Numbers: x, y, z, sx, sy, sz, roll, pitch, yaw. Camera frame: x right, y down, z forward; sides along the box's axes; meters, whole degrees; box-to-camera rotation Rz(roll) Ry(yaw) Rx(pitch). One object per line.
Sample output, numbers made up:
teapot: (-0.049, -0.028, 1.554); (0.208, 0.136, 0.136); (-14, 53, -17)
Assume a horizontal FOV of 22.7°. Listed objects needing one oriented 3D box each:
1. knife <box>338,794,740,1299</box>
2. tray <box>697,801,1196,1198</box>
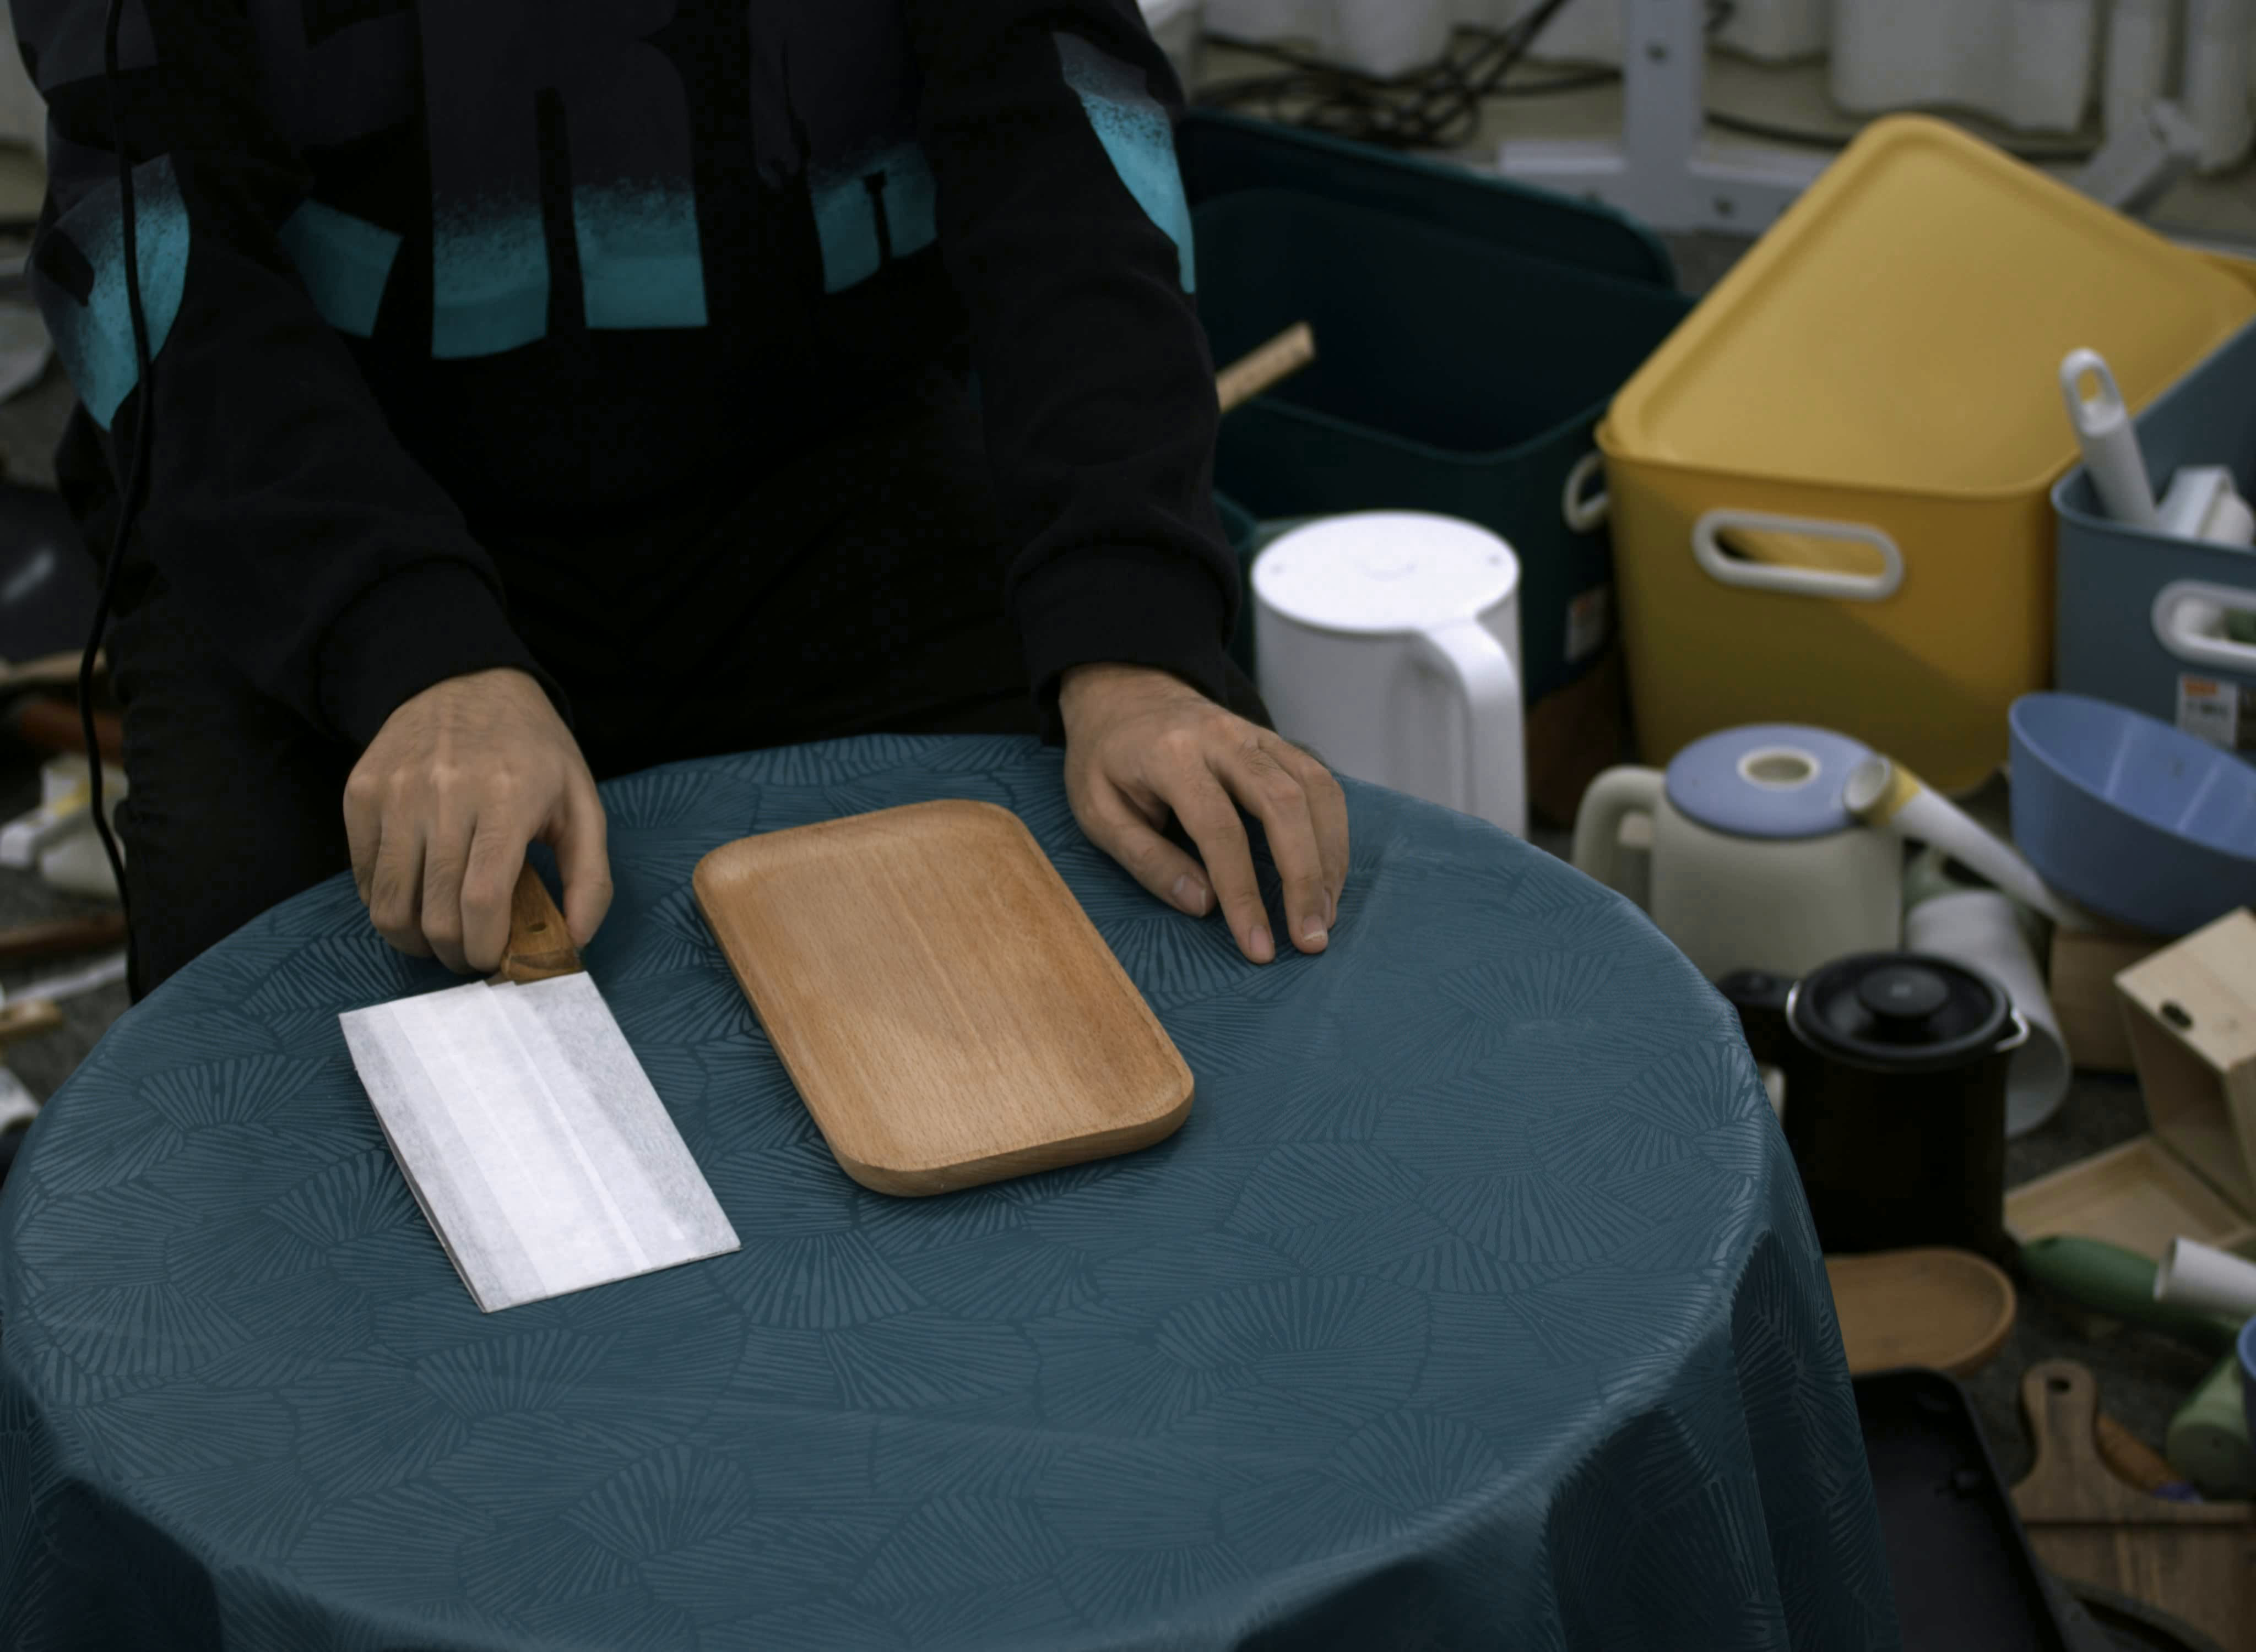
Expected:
knife: (-0.221, 0.075, 1.947); (0.093, 0.021, 0.309); (-13, 33, -17)
tray: (-0.067, 0.058, 1.974); (0.130, 0.022, 0.253); (-8, 27, -14)
